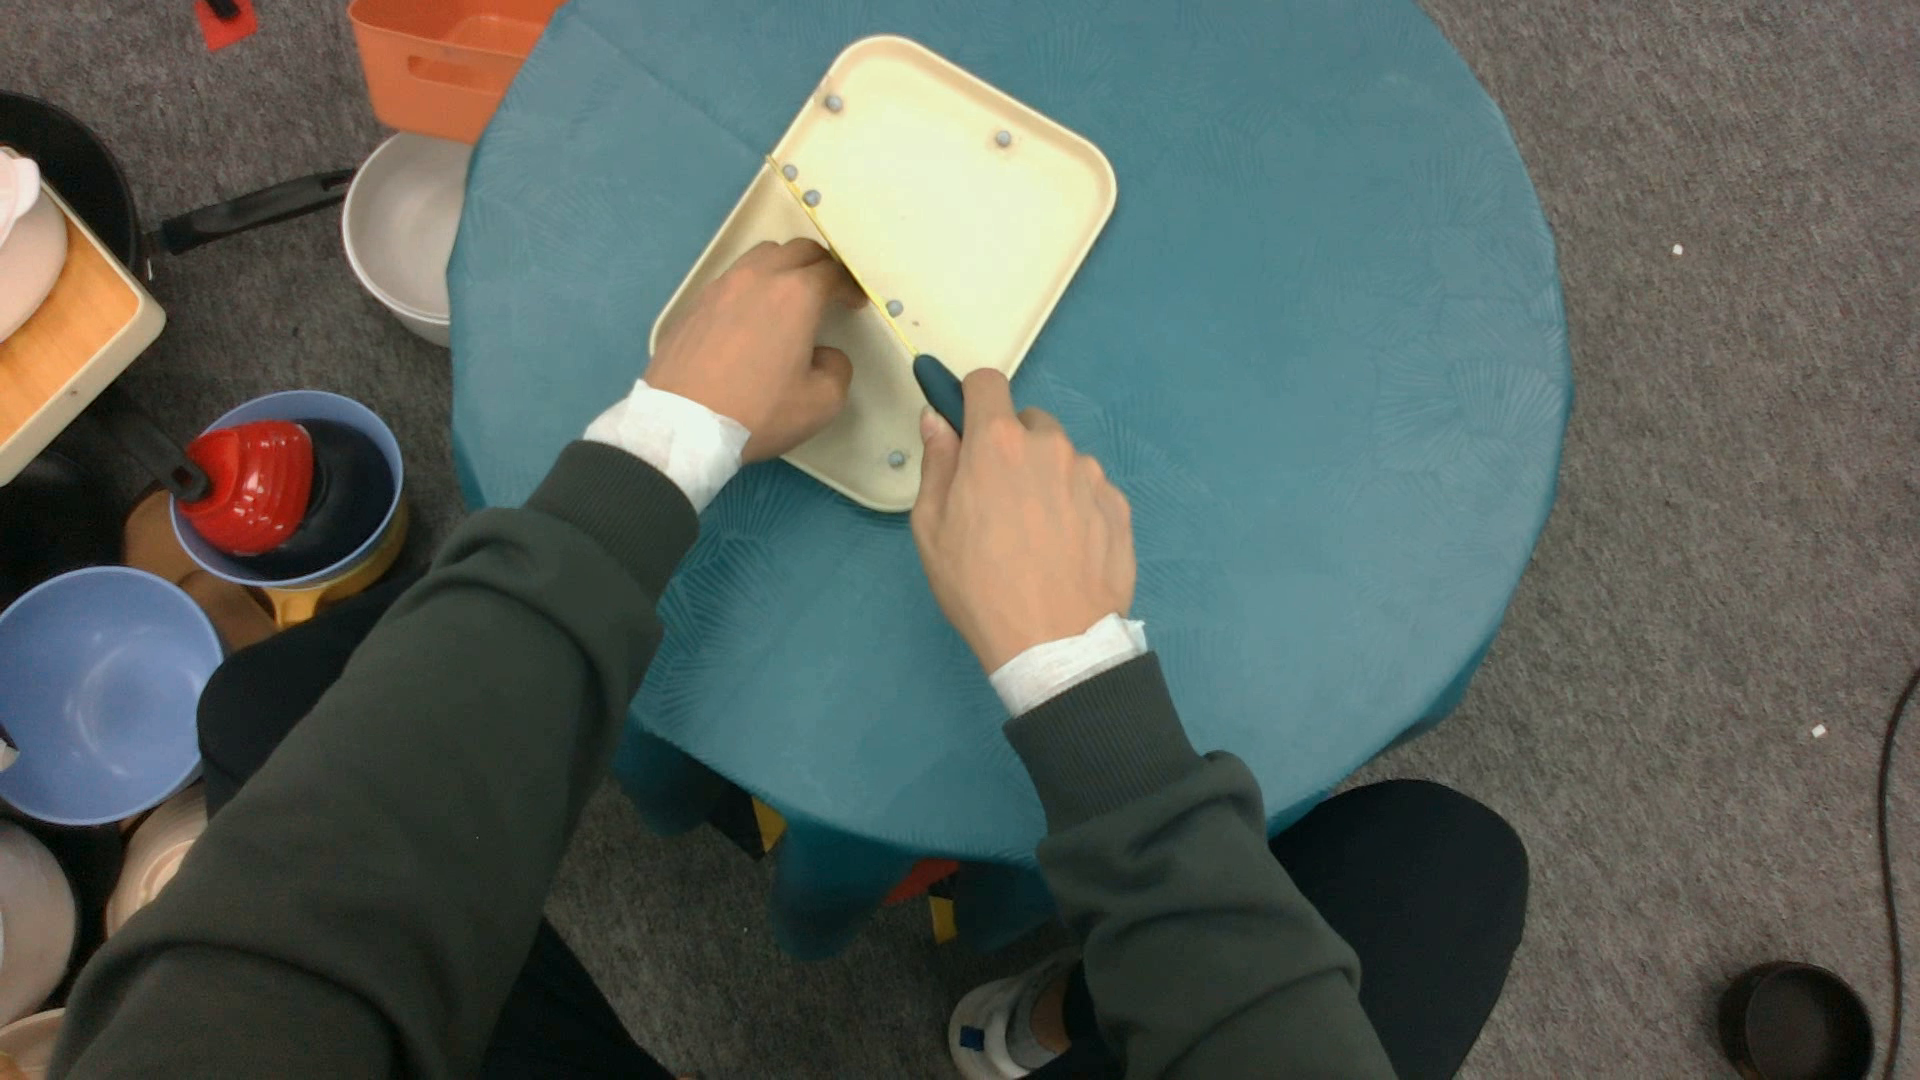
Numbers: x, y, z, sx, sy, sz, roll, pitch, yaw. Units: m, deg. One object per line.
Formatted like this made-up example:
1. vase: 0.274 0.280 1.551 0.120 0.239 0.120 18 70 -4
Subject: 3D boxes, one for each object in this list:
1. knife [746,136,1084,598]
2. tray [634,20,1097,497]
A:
1. knife: -0.028 -0.089 0.652 0.027 0.081 0.290 -36 72 6
2. tray: -0.046 -0.150 0.723 0.171 0.017 0.240 29 75 1
